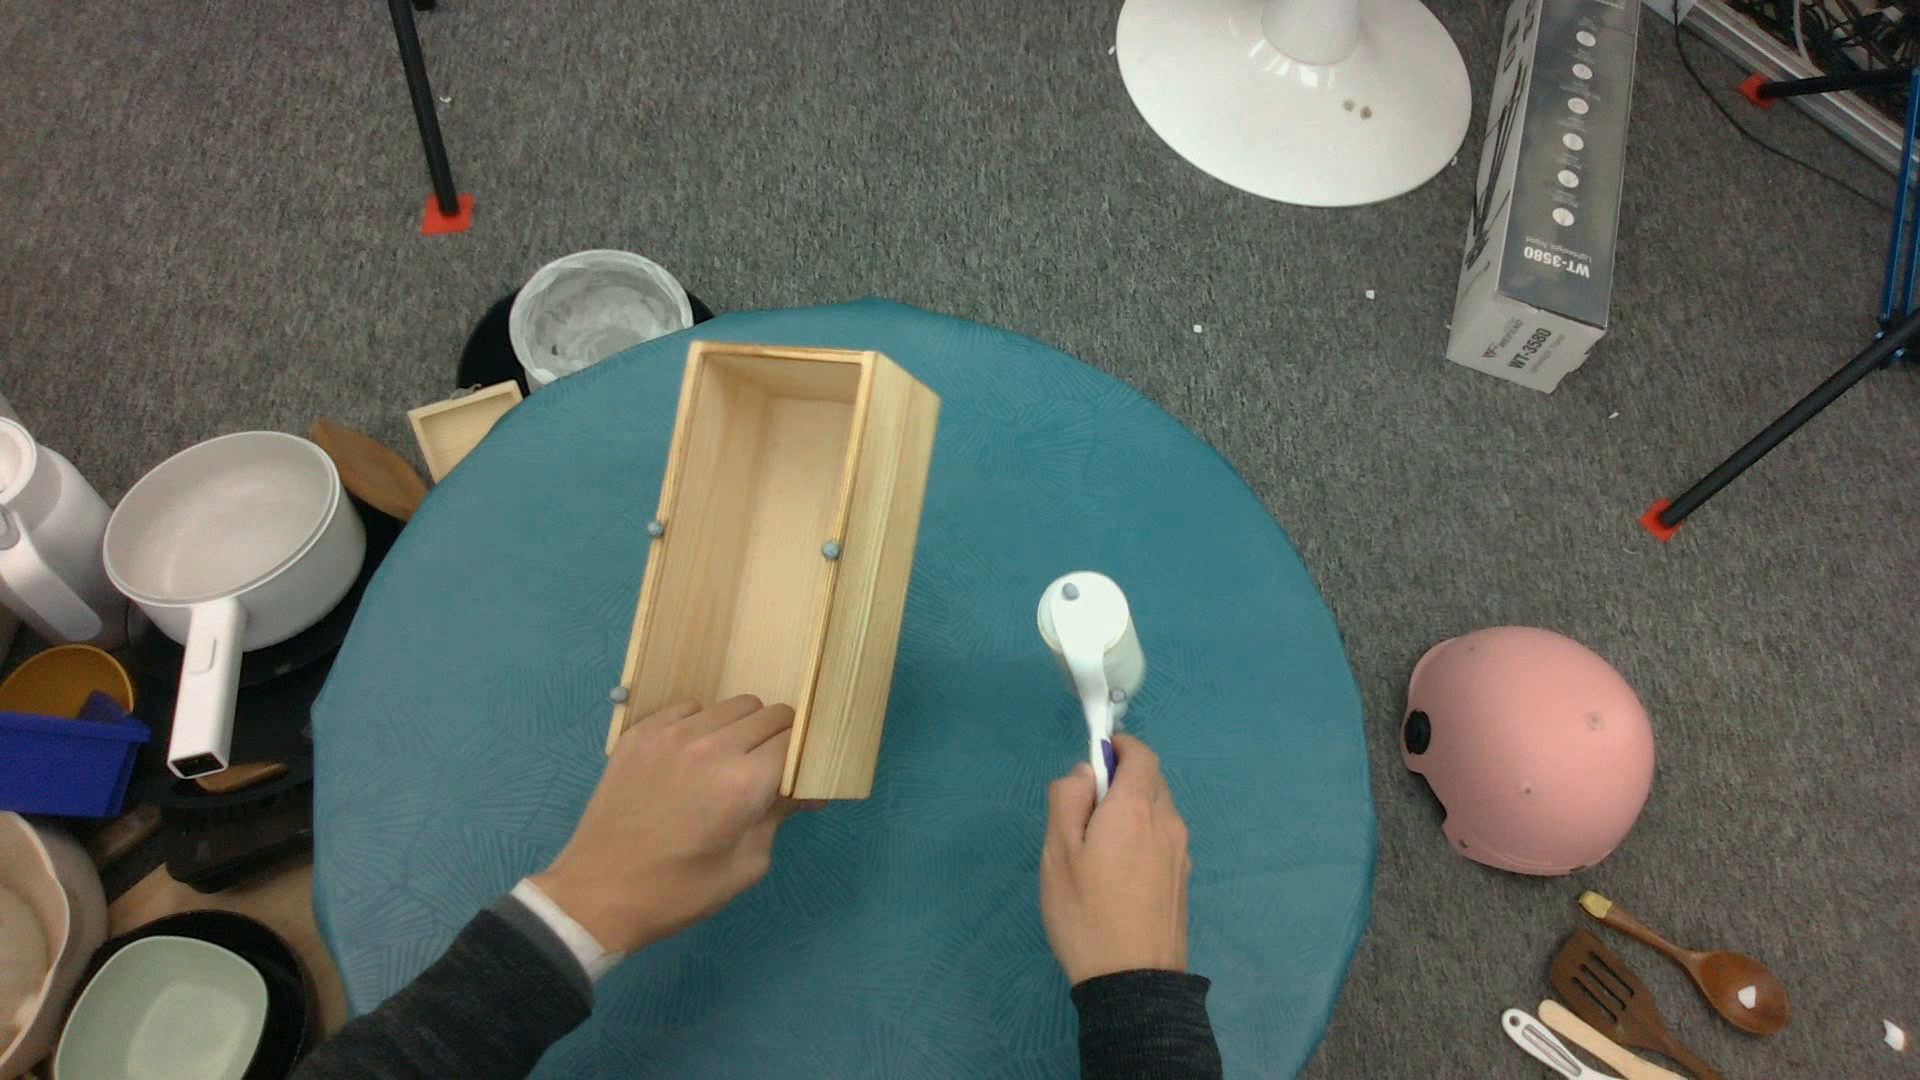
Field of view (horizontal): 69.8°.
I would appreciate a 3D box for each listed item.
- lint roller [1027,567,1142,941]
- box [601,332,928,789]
[{"bbox_3d":[0.080,0.111,0.709,0.050,0.132,0.181,-16,62,7],"label":"lint roller"},{"bbox_3d":[-0.094,0.011,0.692,0.107,0.080,0.211,6,82,21],"label":"box"}]
